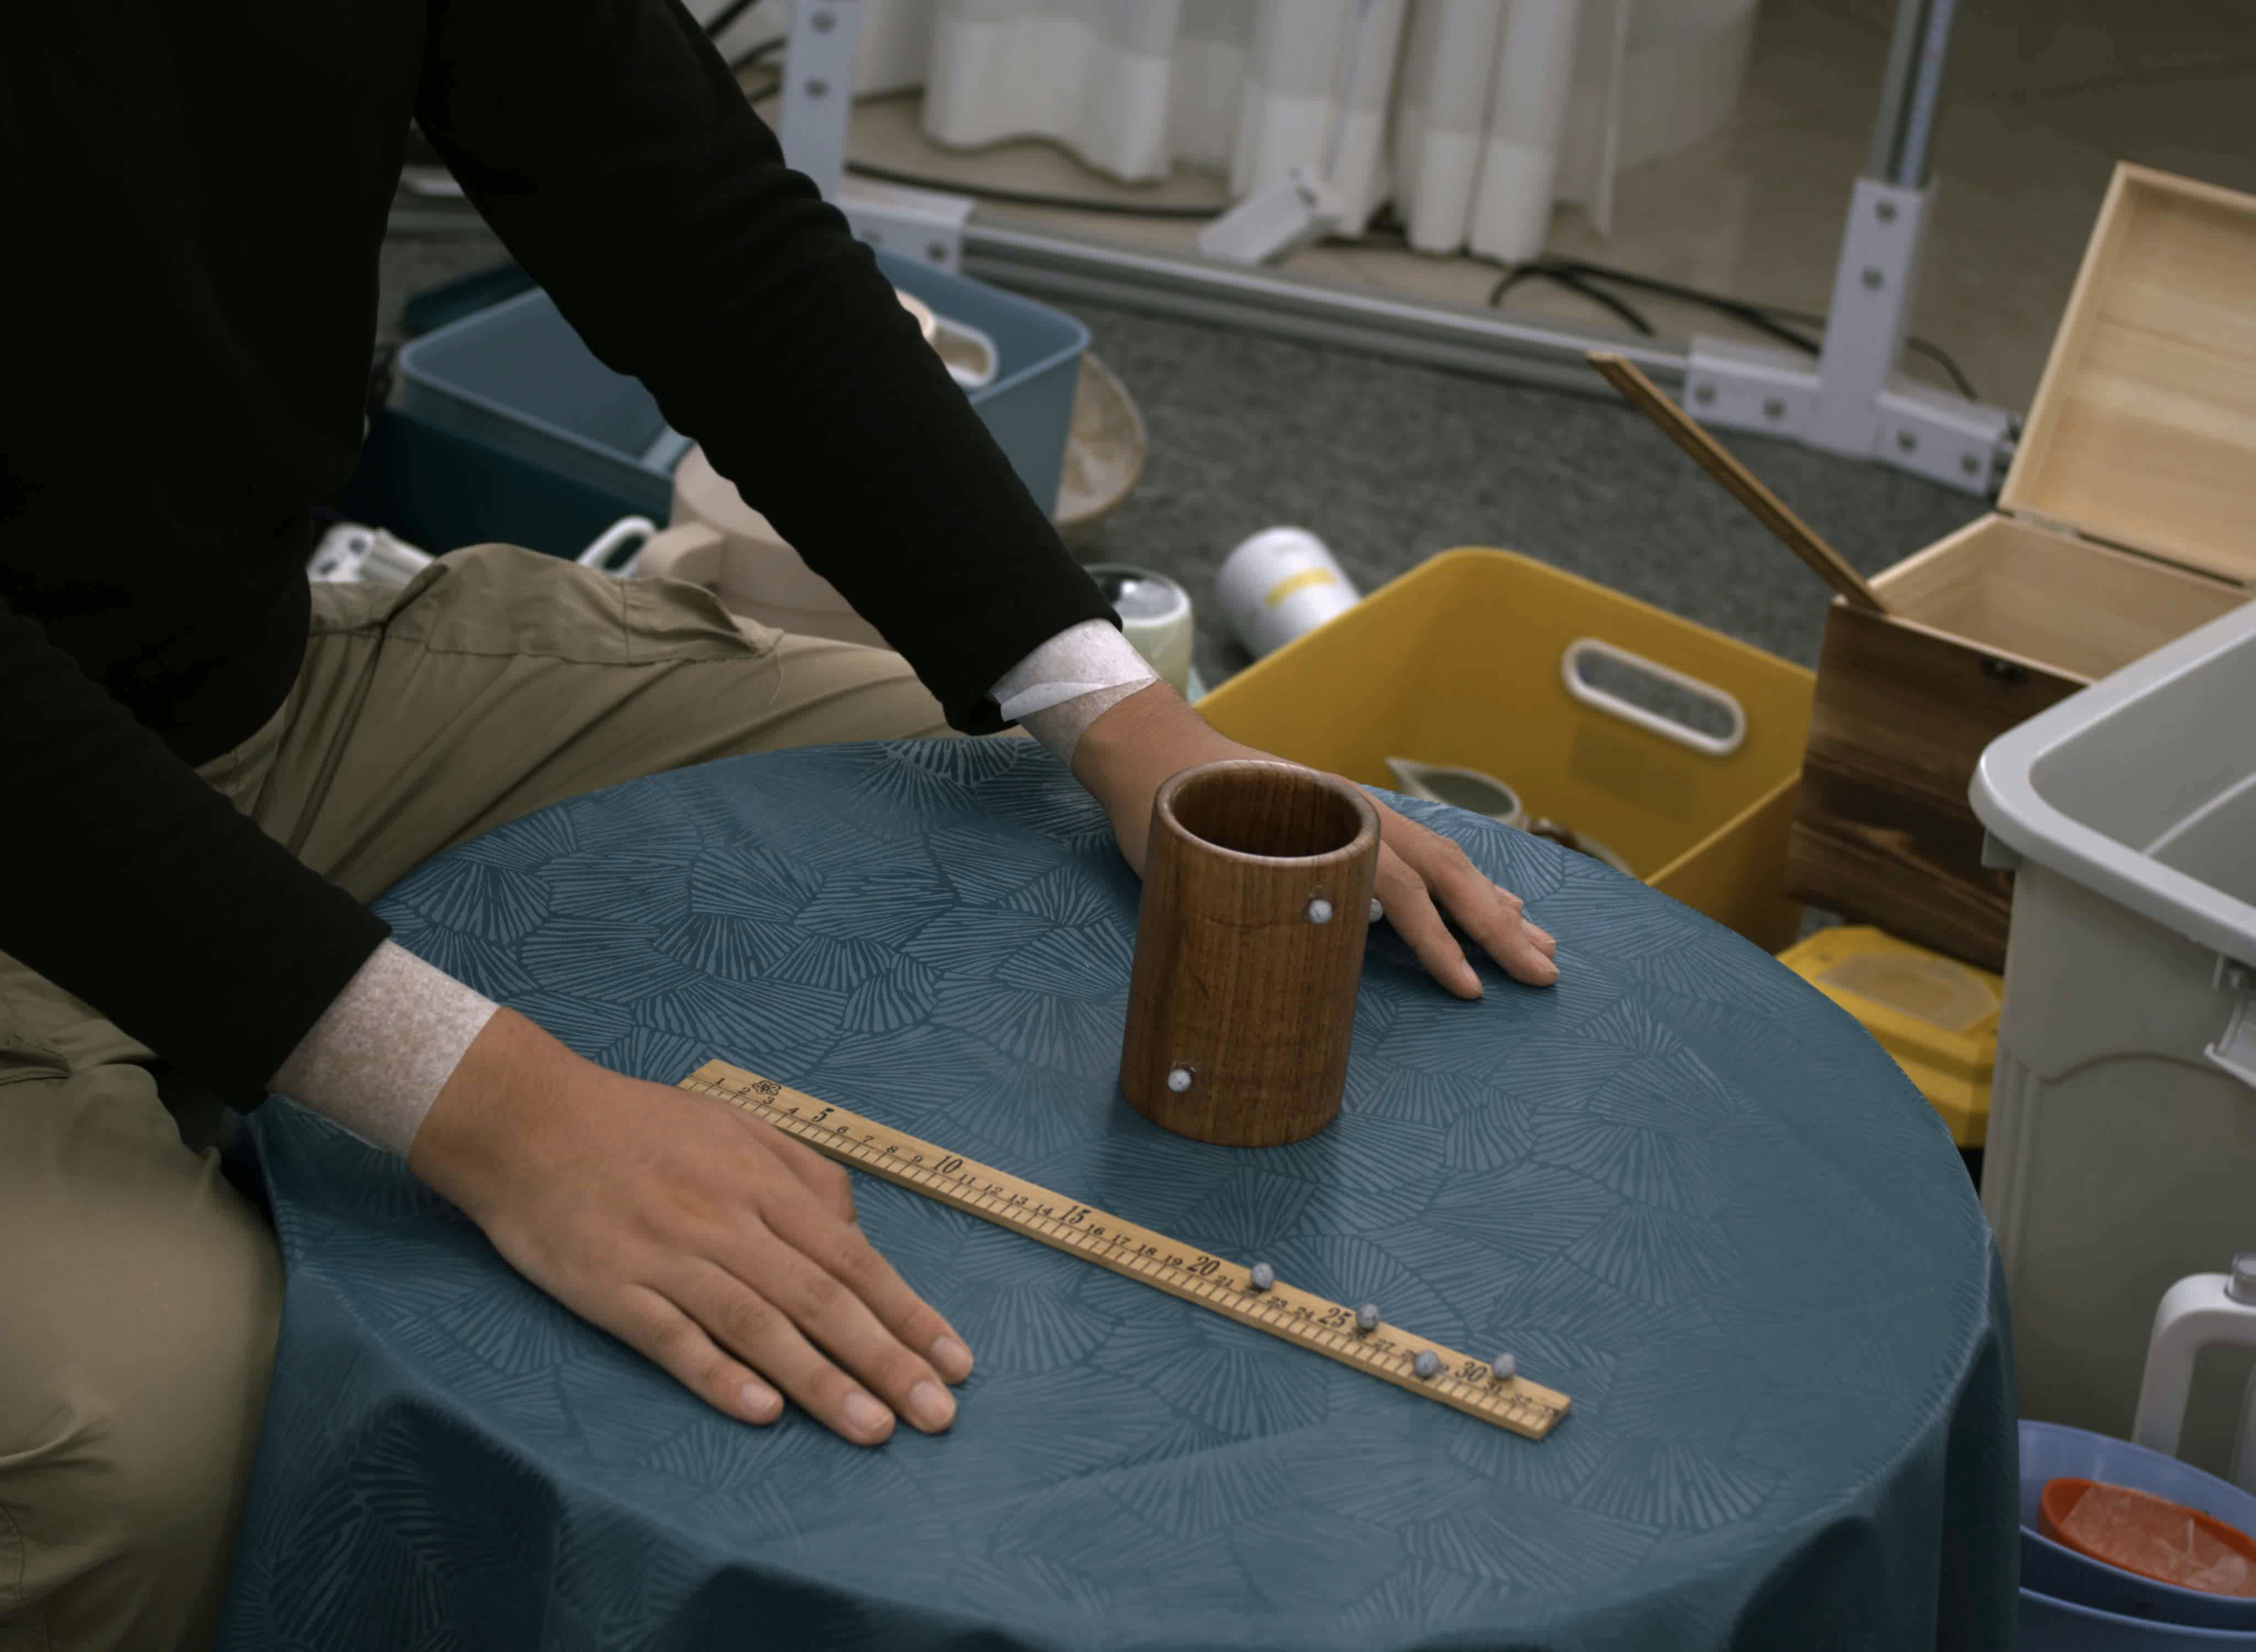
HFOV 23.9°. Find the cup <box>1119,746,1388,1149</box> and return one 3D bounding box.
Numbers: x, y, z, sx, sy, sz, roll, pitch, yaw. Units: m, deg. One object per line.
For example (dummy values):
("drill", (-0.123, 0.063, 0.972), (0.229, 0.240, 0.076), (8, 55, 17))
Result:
("cup", (0.043, 0.042, 1.843), (0.087, 0.118, 0.088), (6, 26, -3))

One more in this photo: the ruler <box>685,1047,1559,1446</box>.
("ruler", (-0.007, 0.135, 1.767), (0.333, 0.022, 0.027), (21, 26, 26))
